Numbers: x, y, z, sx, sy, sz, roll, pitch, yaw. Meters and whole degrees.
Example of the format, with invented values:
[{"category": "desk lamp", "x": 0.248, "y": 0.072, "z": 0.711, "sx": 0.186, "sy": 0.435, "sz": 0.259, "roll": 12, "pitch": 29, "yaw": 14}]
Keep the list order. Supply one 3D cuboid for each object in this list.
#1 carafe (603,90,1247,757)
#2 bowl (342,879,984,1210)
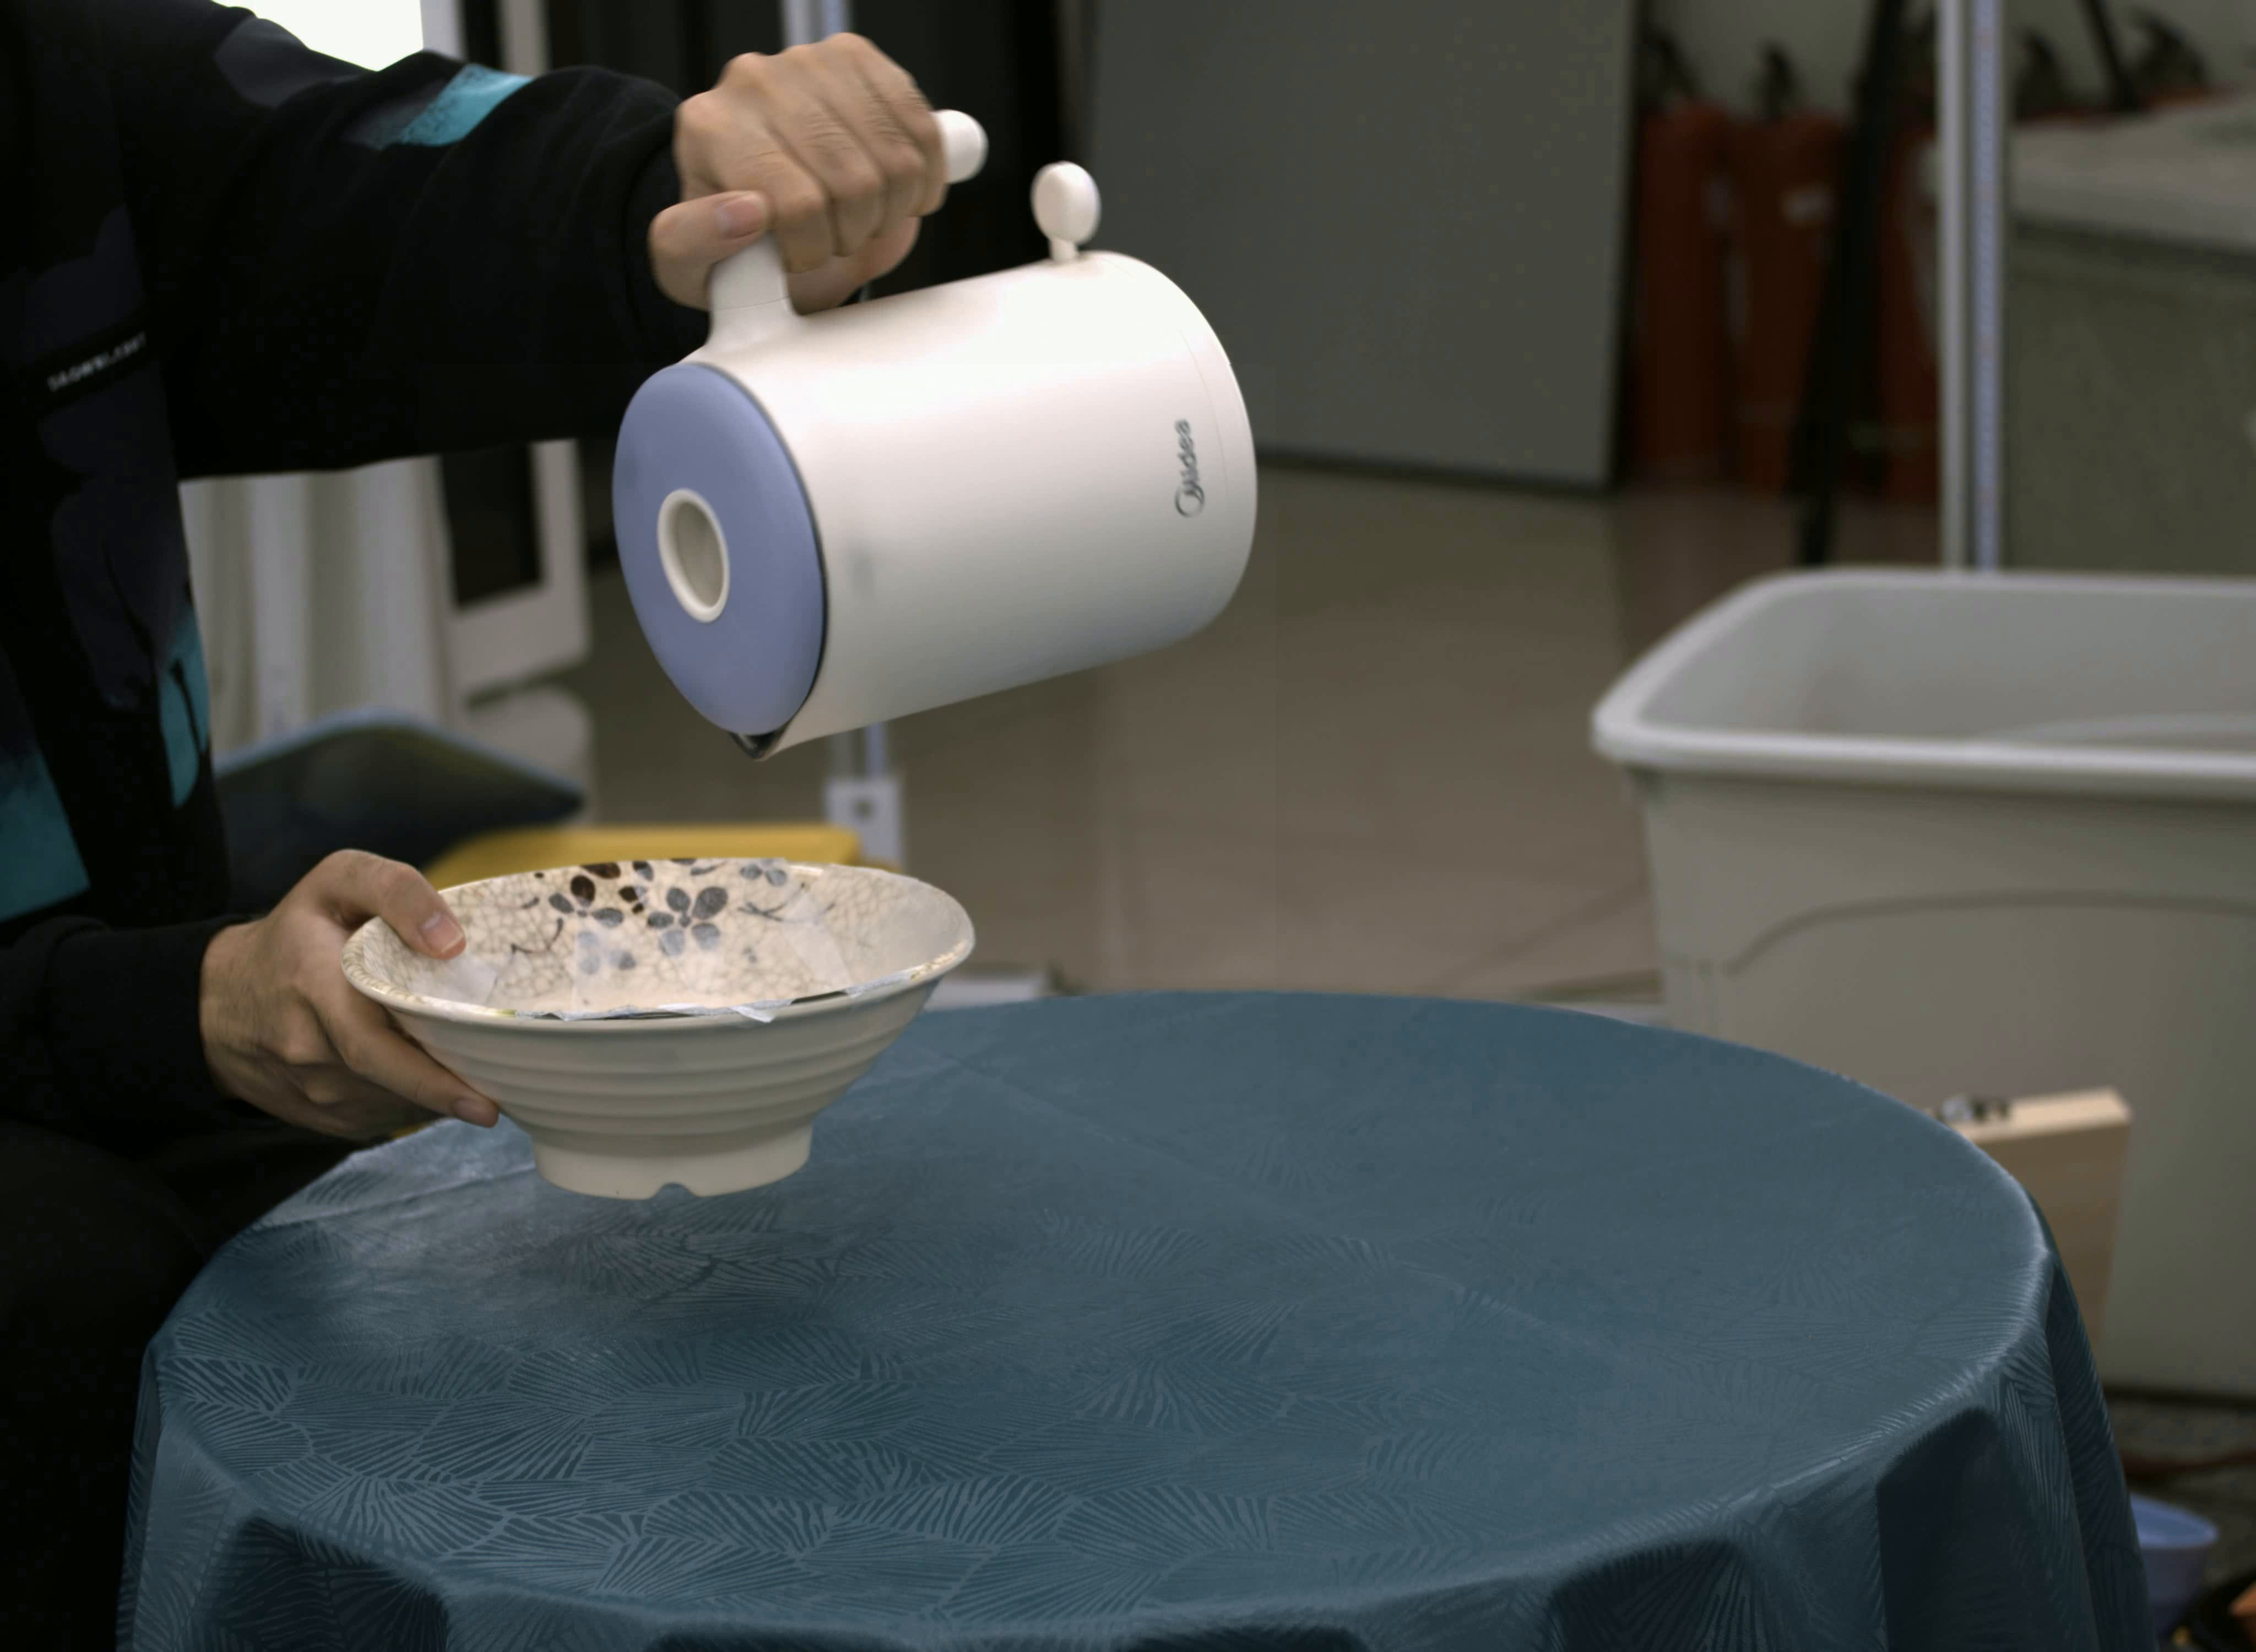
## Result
[{"category": "carafe", "x": -0.068, "y": -0.132, "z": 1.708, "sx": 0.178, "sy": 0.193, "sz": 0.133, "roll": -14, "pitch": 9, "yaw": -32}, {"category": "bowl", "x": -0.143, "y": 0.073, "z": 1.704, "sx": 0.201, "sy": 0.079, "sz": 0.204, "roll": -4, "pitch": 10, "yaw": 0}]
